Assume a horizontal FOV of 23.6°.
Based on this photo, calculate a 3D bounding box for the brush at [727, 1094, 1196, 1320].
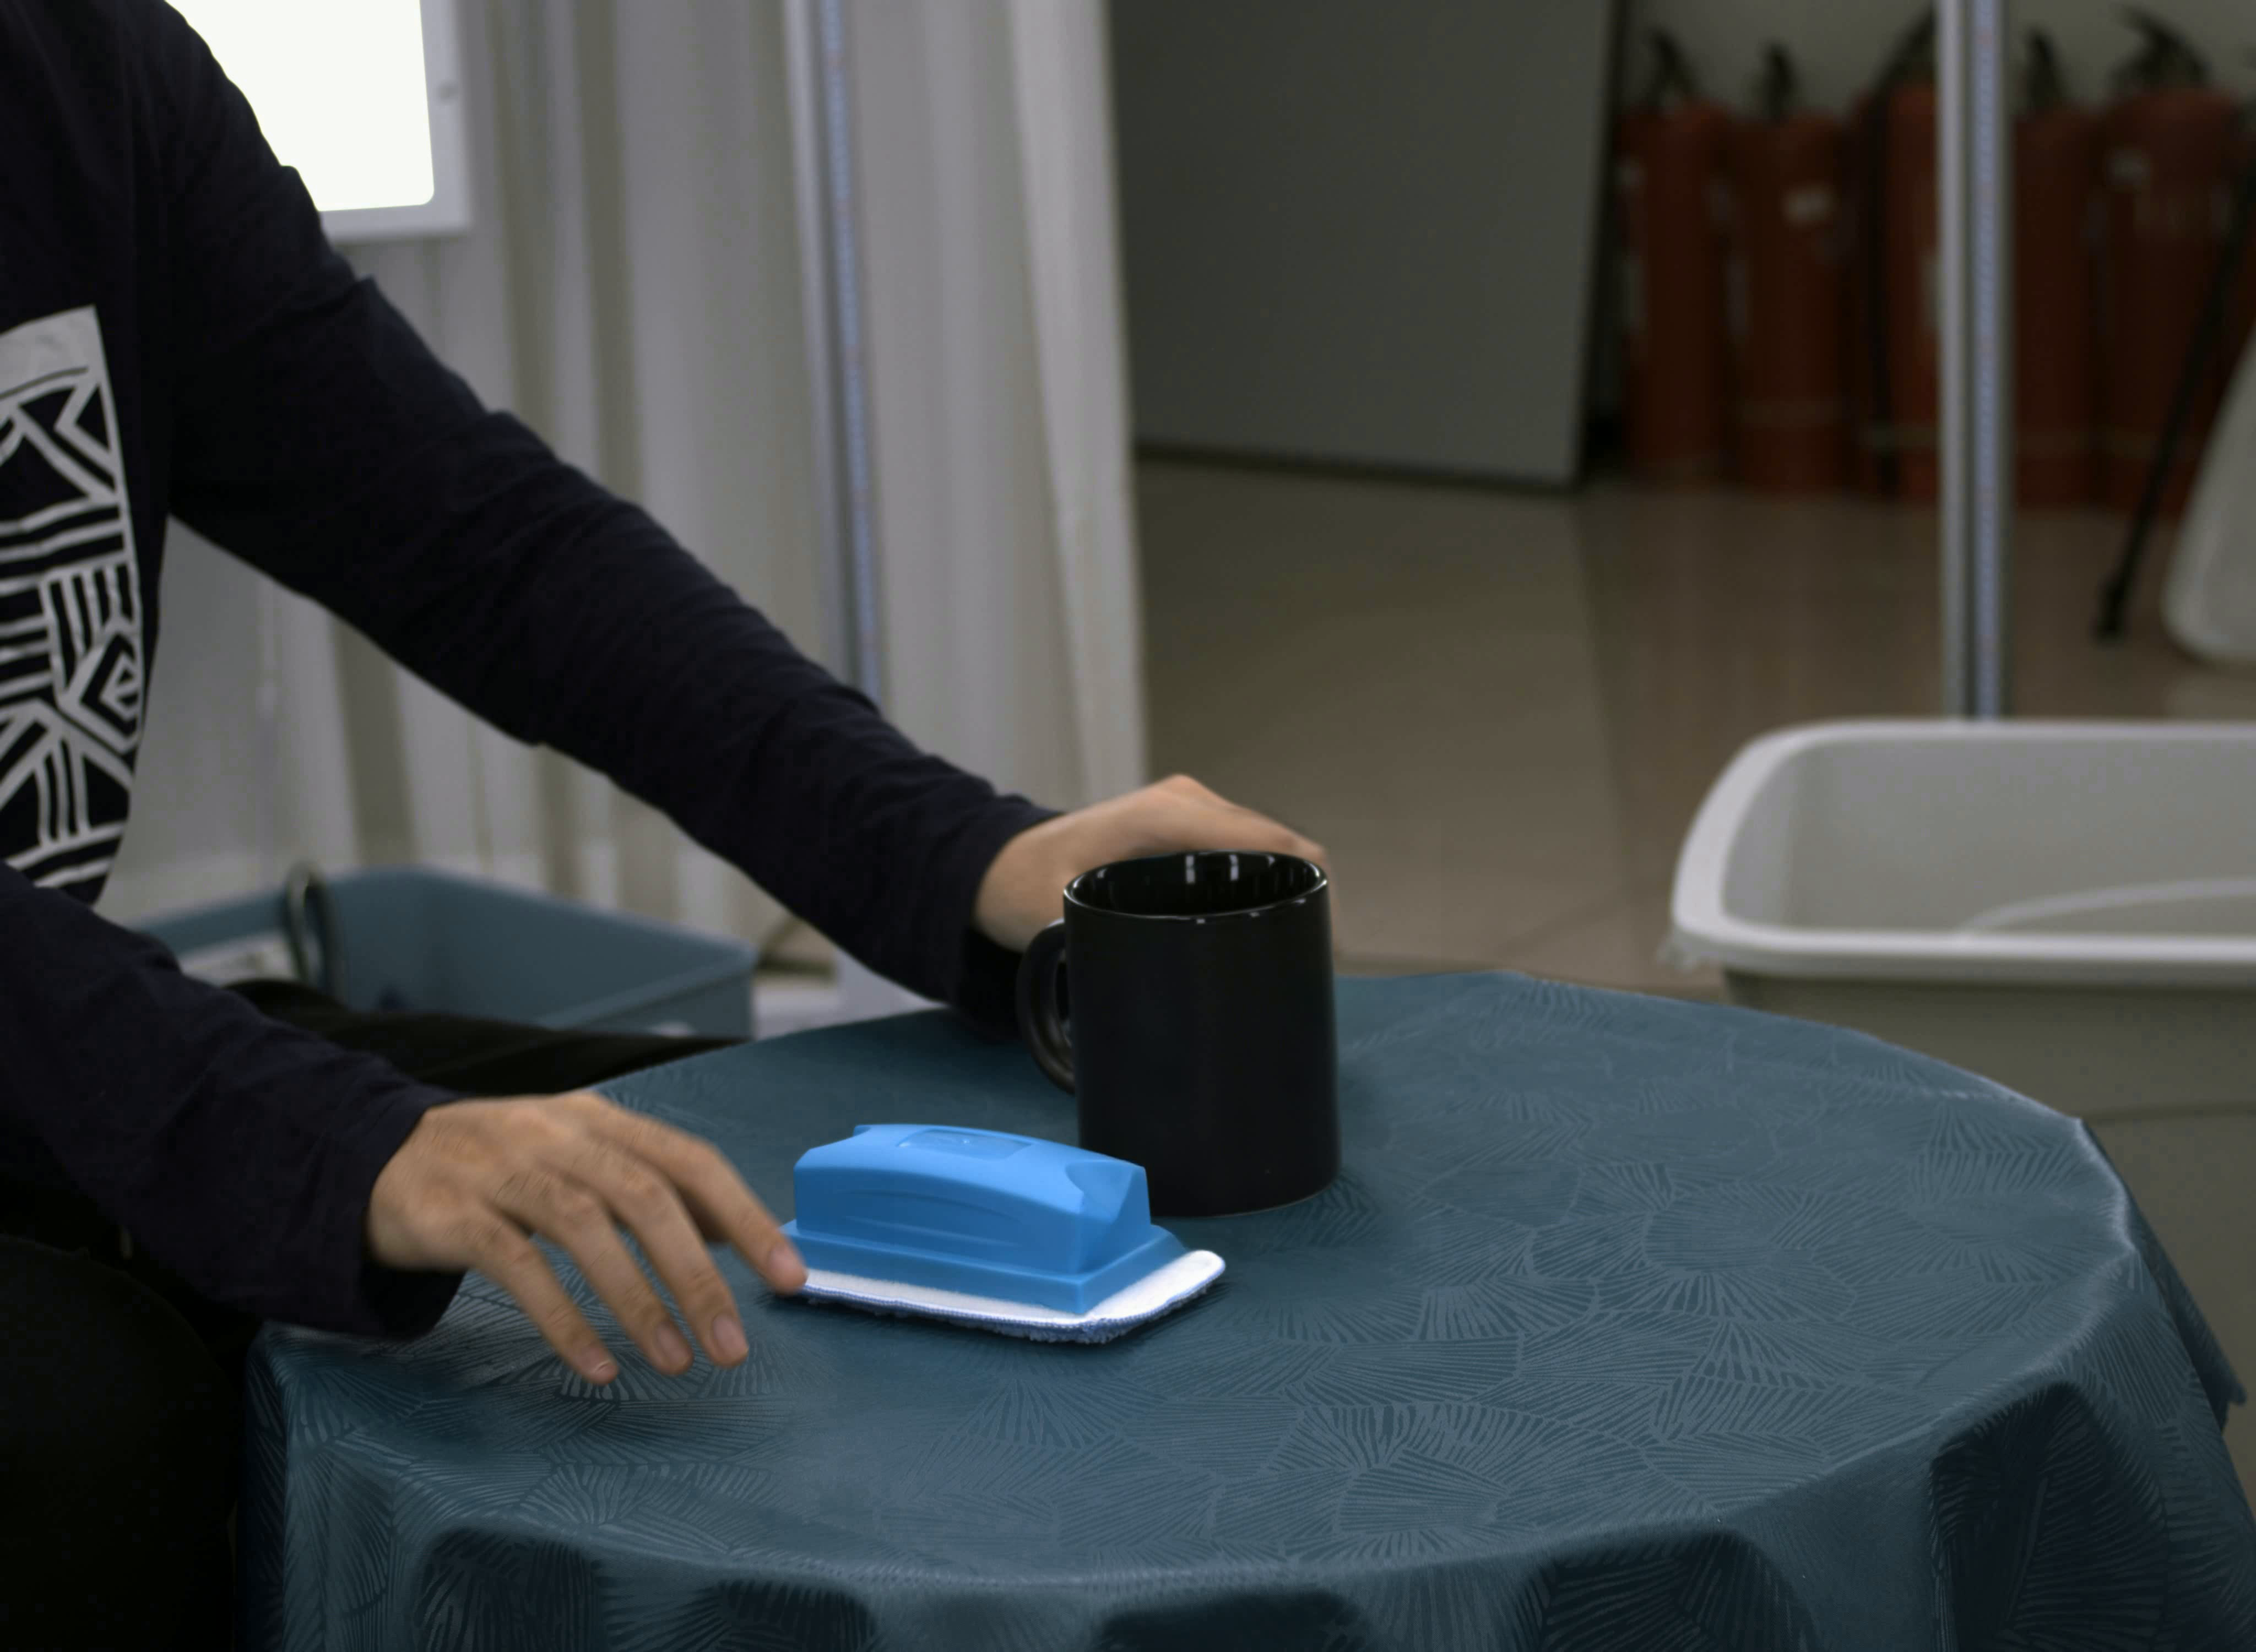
[{"bbox_3d":[-0.052,0.117,1.680,0.145,0.056,0.082,9,16,36],"label":"brush"}]

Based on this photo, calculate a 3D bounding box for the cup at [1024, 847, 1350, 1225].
[{"bbox_3d":[0.013,0.067,1.781,0.125,0.106,0.087,6,18,44],"label":"cup"}]
